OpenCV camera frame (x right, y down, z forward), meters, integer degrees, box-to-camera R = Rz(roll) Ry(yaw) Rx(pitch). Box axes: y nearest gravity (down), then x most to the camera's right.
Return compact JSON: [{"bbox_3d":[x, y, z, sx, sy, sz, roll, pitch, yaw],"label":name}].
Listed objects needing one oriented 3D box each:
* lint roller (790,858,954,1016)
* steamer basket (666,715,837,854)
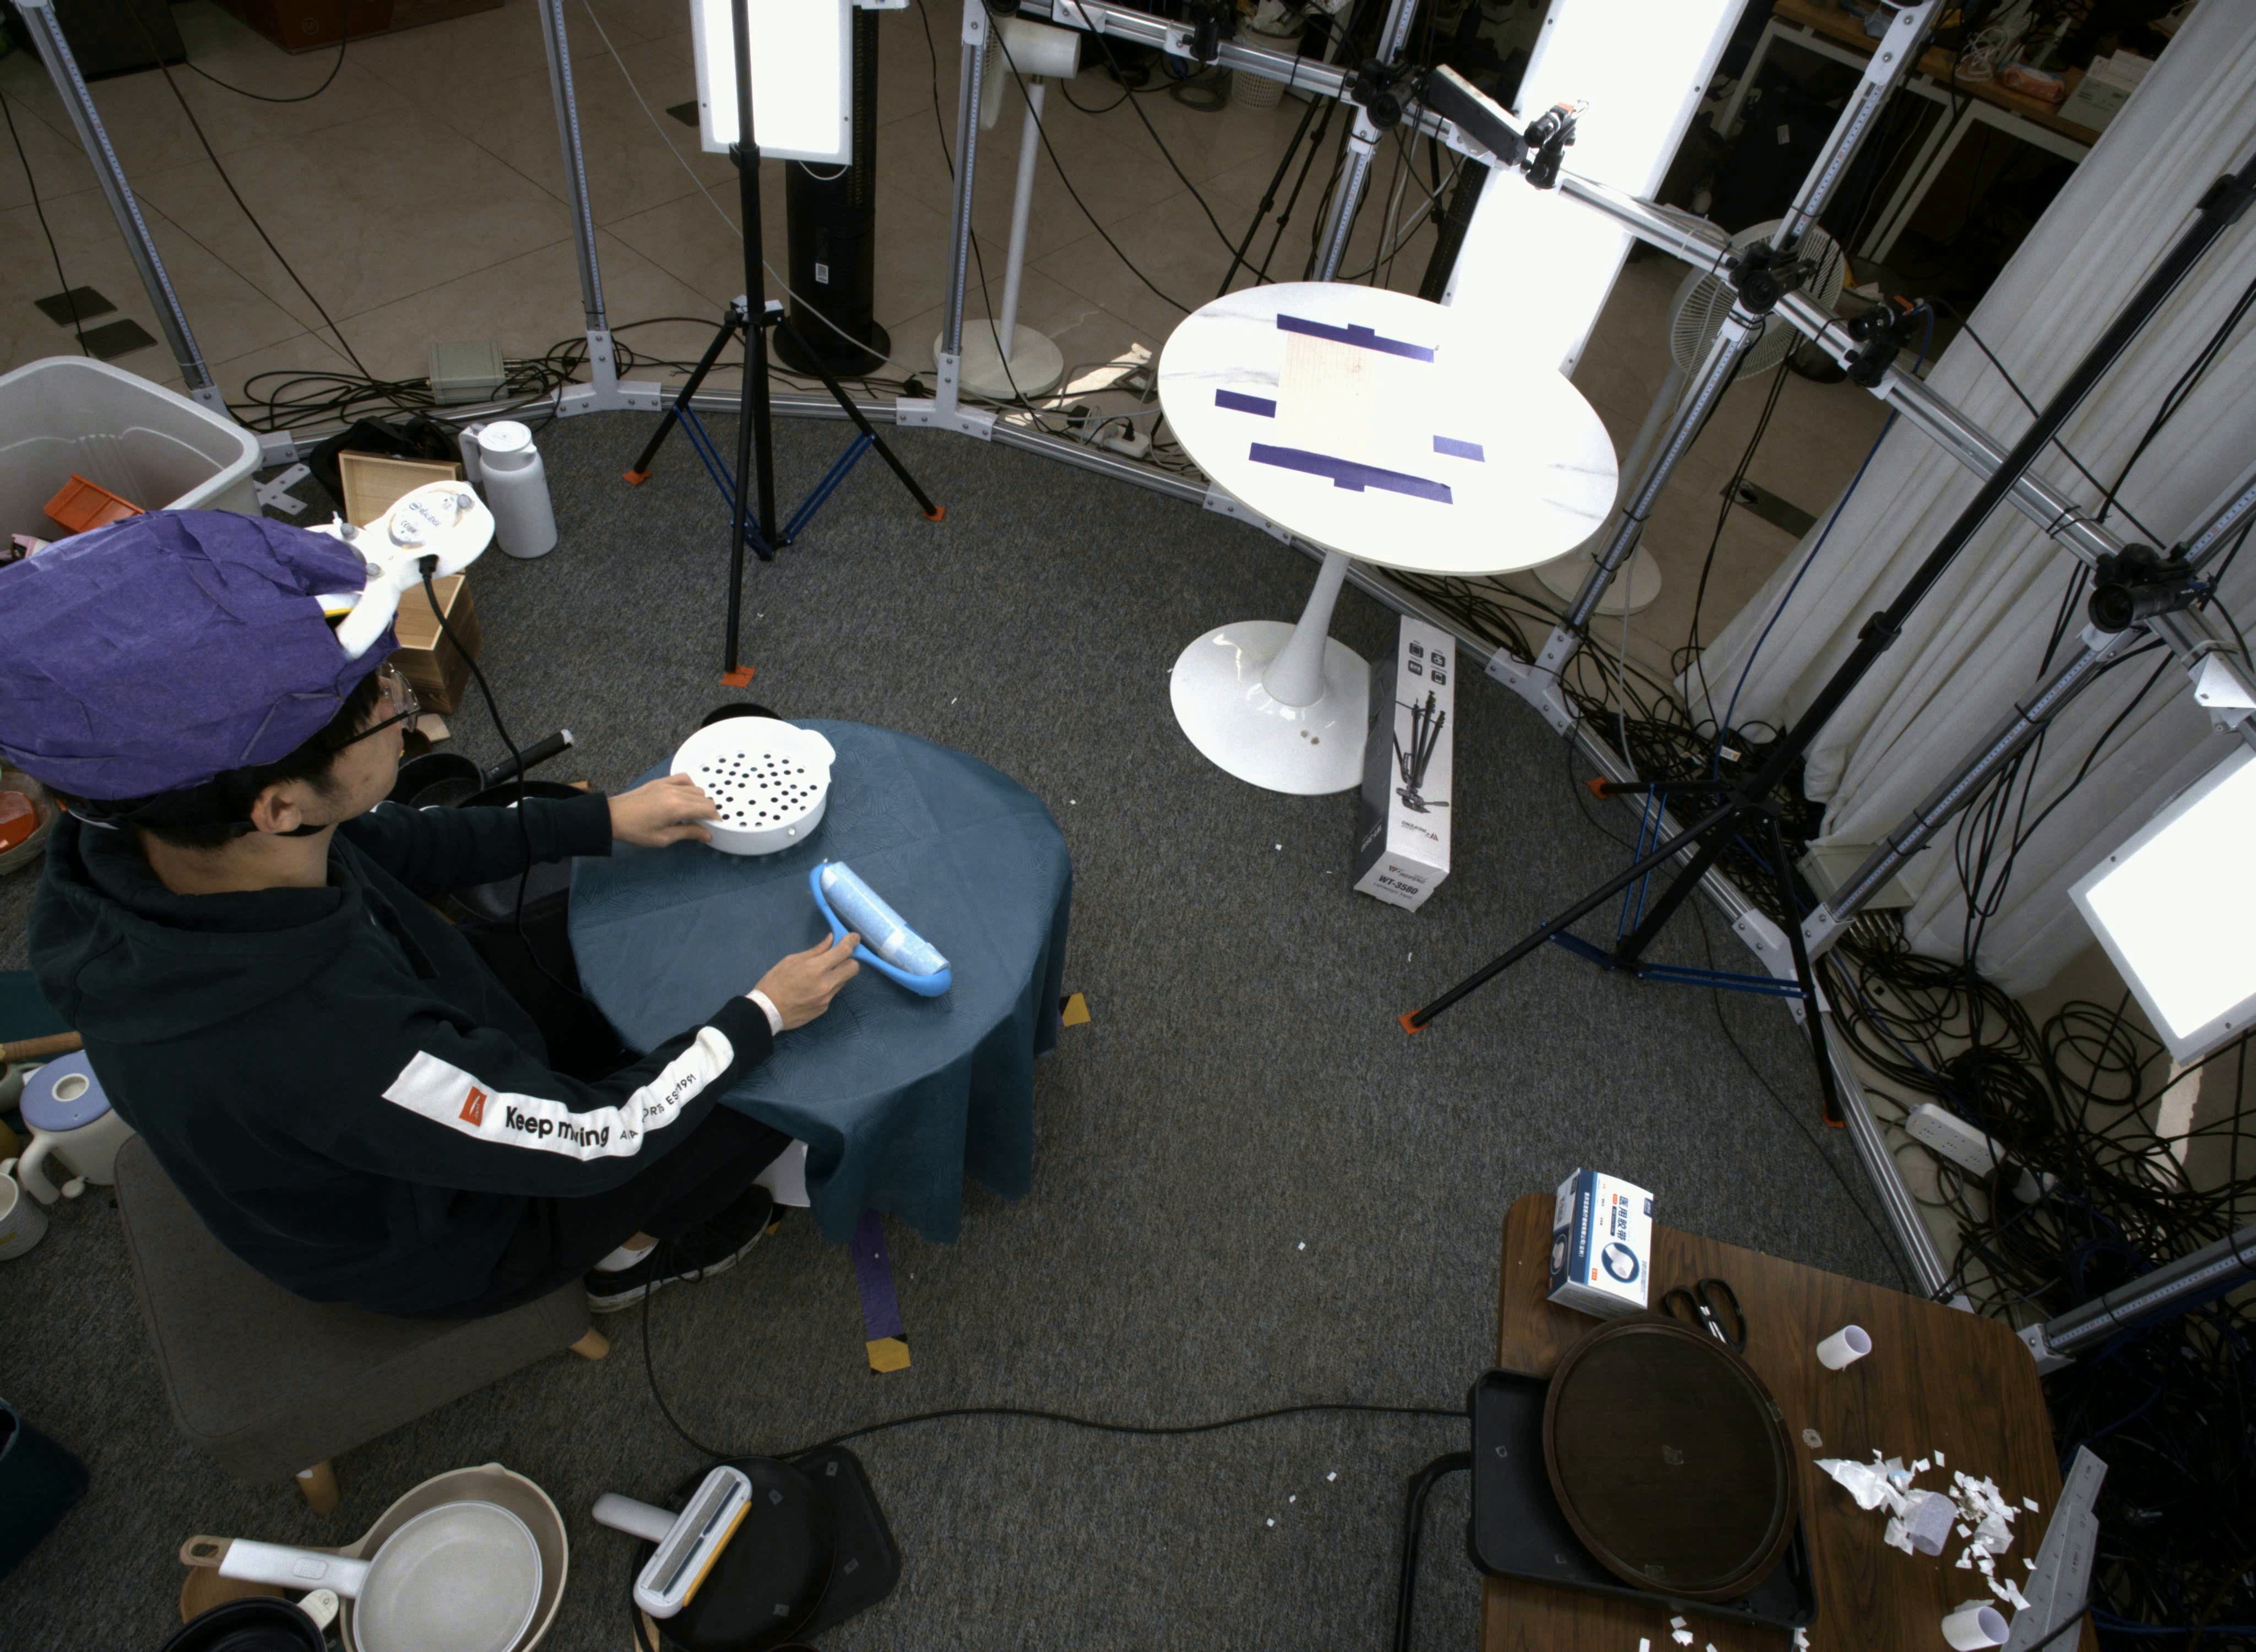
[{"bbox_3d":[-0.340,0.156,1.583,0.227,0.068,0.180,39,57,5],"label":"lint roller"},{"bbox_3d":[-0.492,-0.055,1.701,0.231,0.071,0.196,-27,60,-31],"label":"steamer basket"}]
